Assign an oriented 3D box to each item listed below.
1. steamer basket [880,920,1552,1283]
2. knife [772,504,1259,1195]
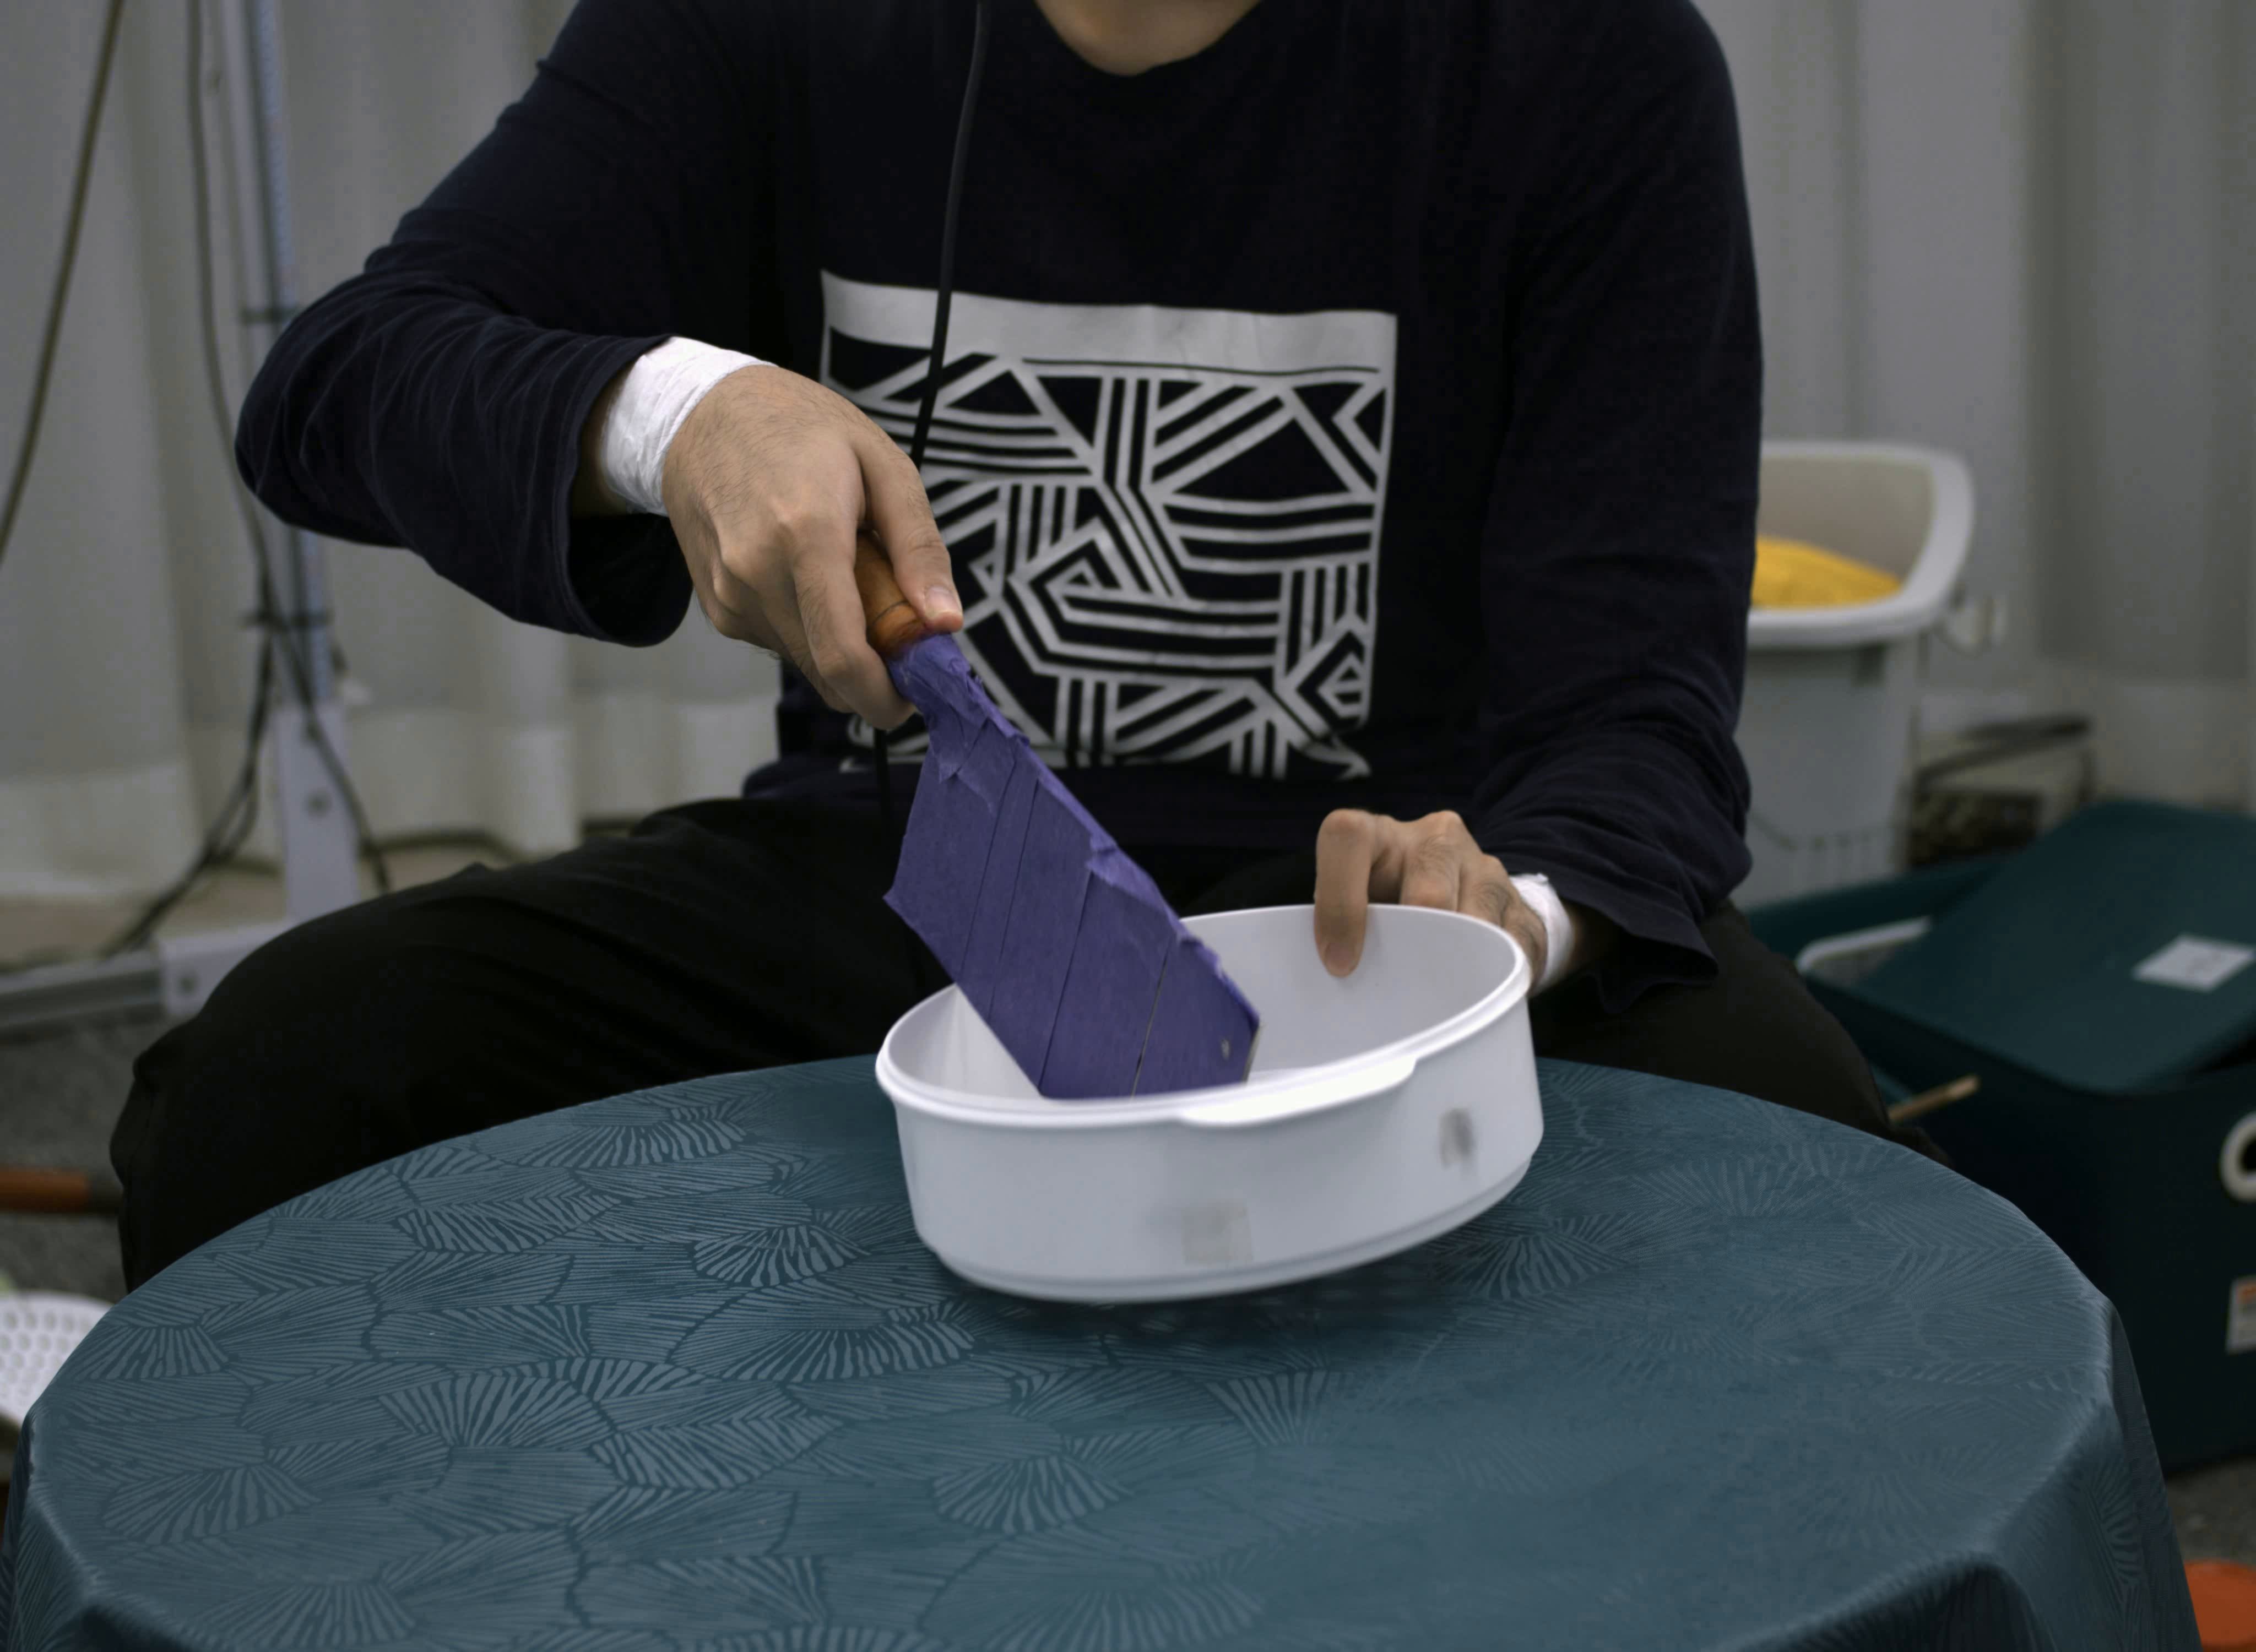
[{"bbox_3d":[0.029,0.083,1.647,0.201,0.069,0.232,-11,10,-14],"label":"steamer basket"},{"bbox_3d":[-0.044,0.009,1.678,0.032,0.103,0.319,0,29,-28],"label":"knife"}]
